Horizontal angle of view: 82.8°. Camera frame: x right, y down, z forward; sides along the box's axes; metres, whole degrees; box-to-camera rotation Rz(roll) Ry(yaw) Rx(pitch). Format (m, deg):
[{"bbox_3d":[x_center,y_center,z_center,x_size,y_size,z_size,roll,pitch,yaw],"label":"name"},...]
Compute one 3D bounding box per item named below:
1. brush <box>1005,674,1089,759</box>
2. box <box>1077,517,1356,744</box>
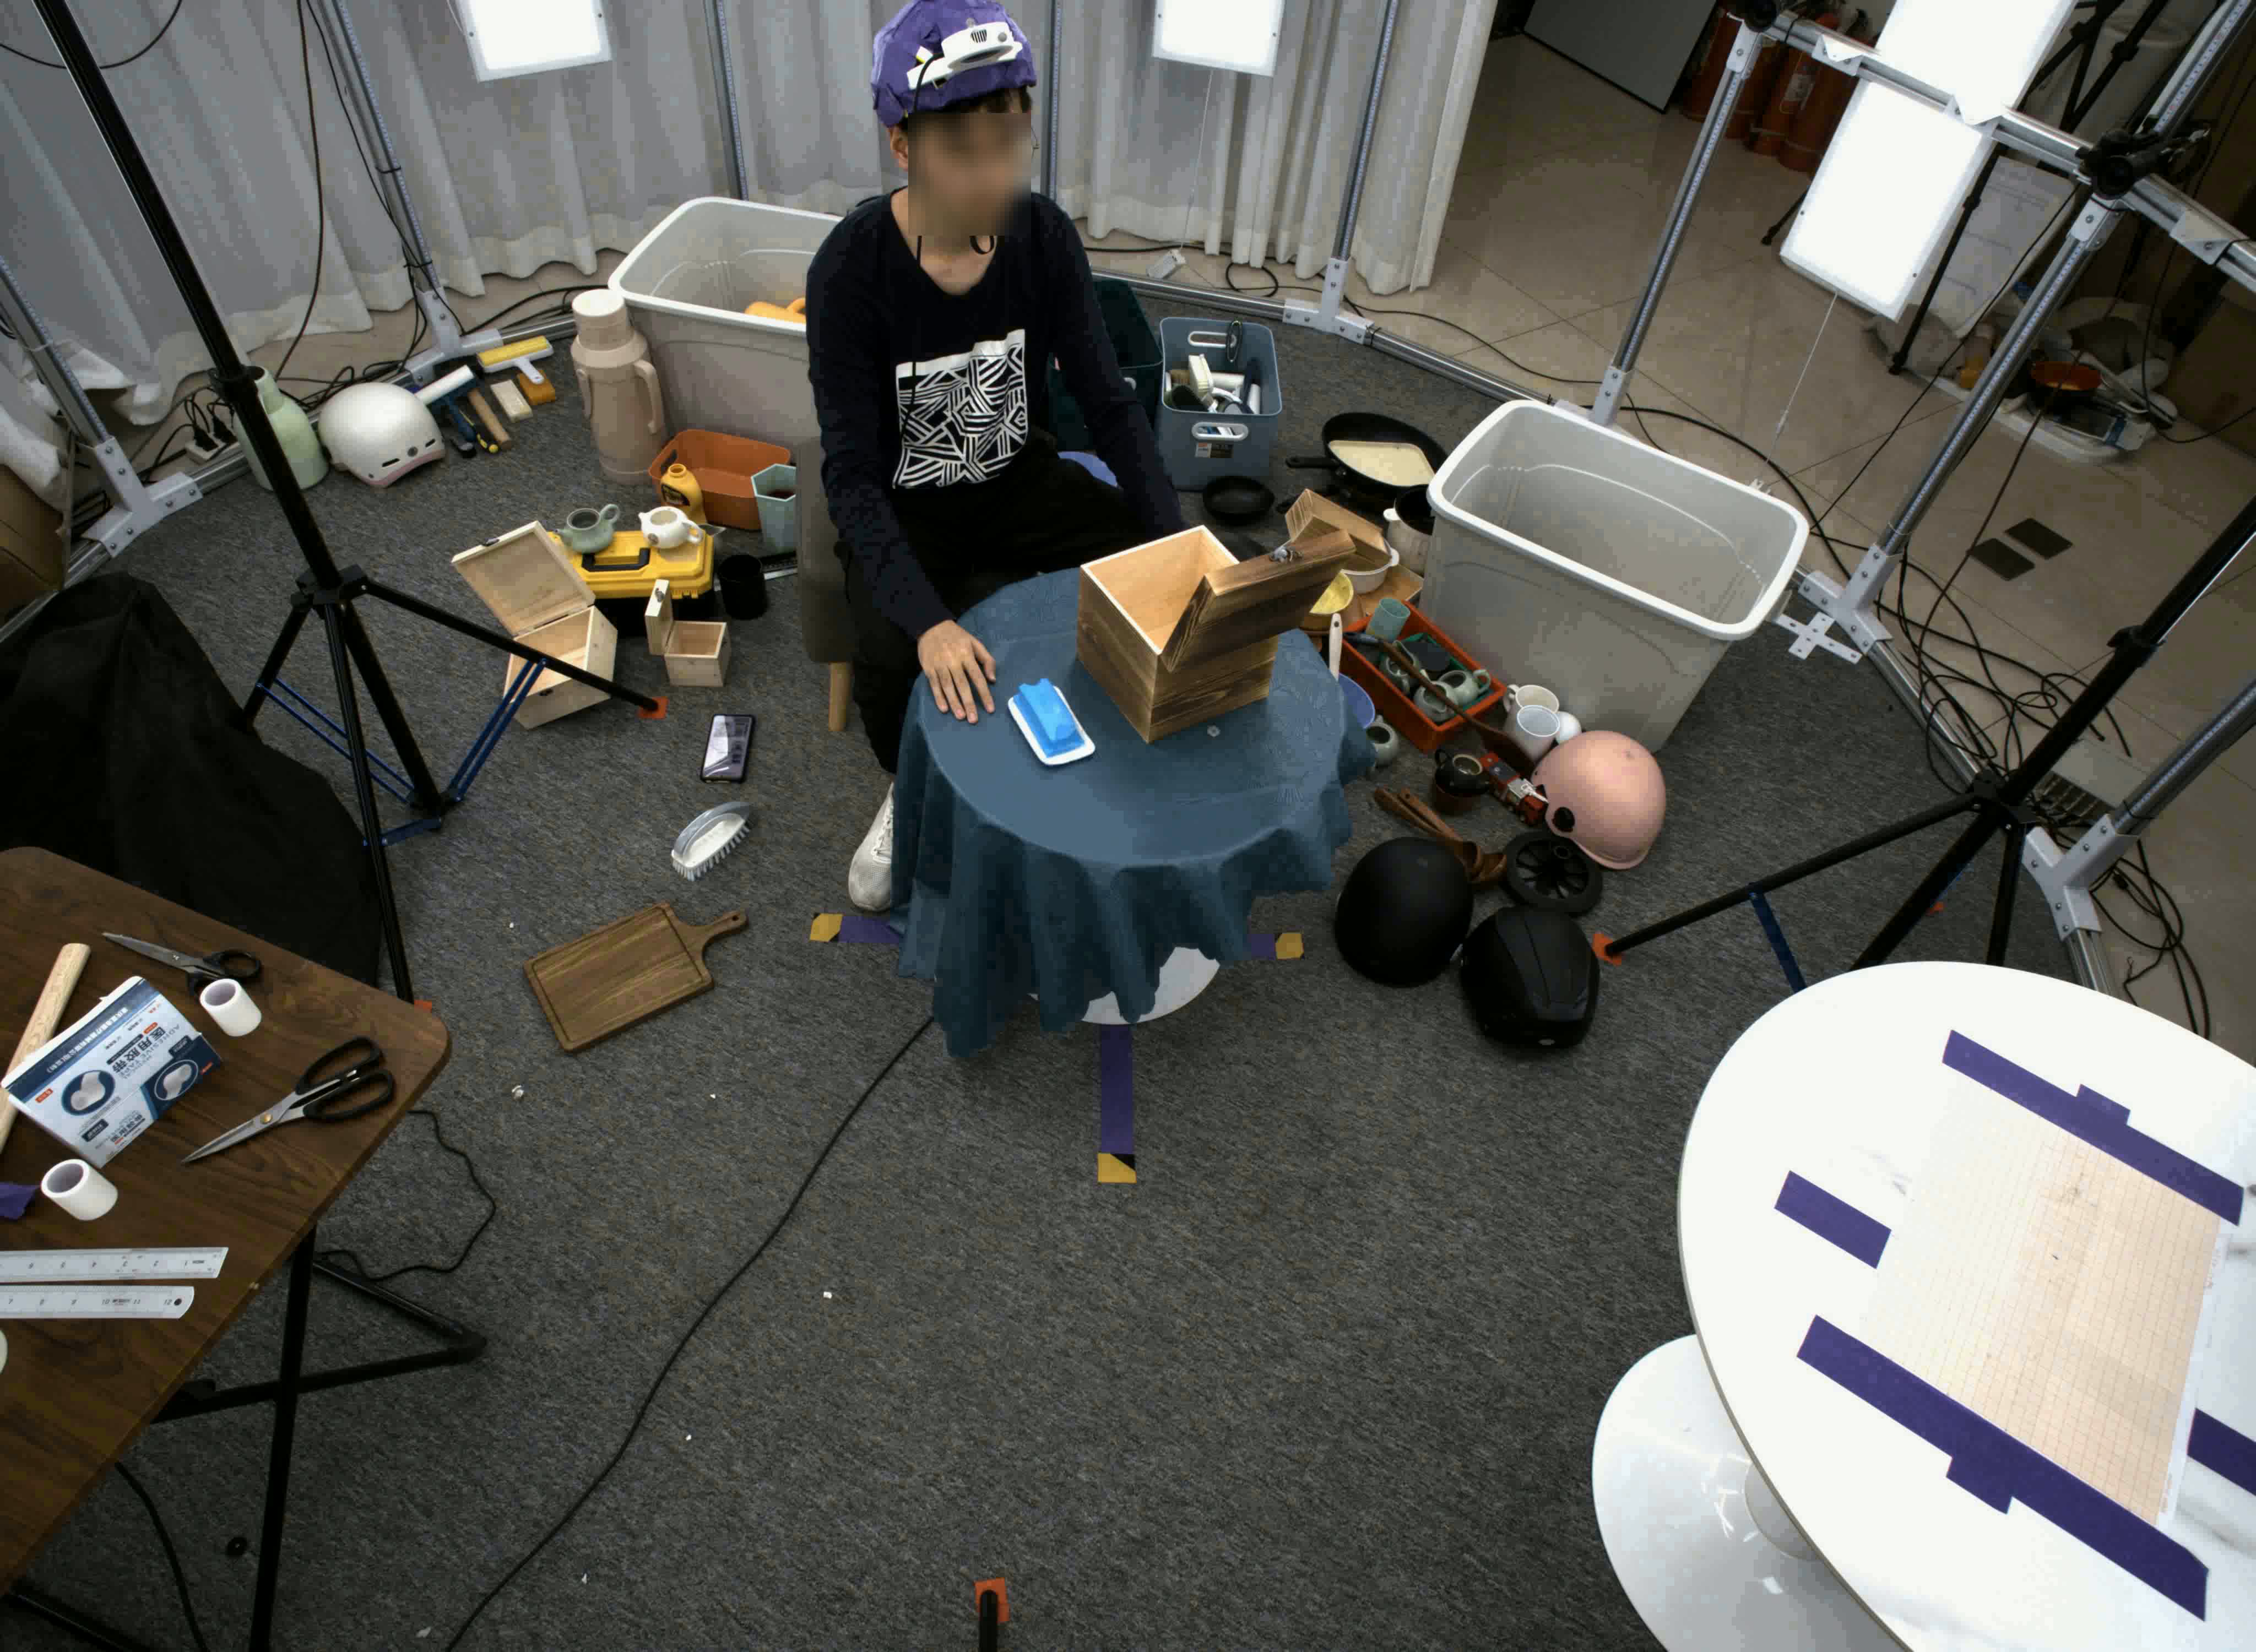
[{"bbox_3d":[-0.110,-0.157,1.757,0.084,0.054,0.147,-14,53,-19],"label":"brush"},{"bbox_3d":[0.100,-0.298,1.700,0.209,0.366,0.329,-22,54,-22],"label":"box"}]
